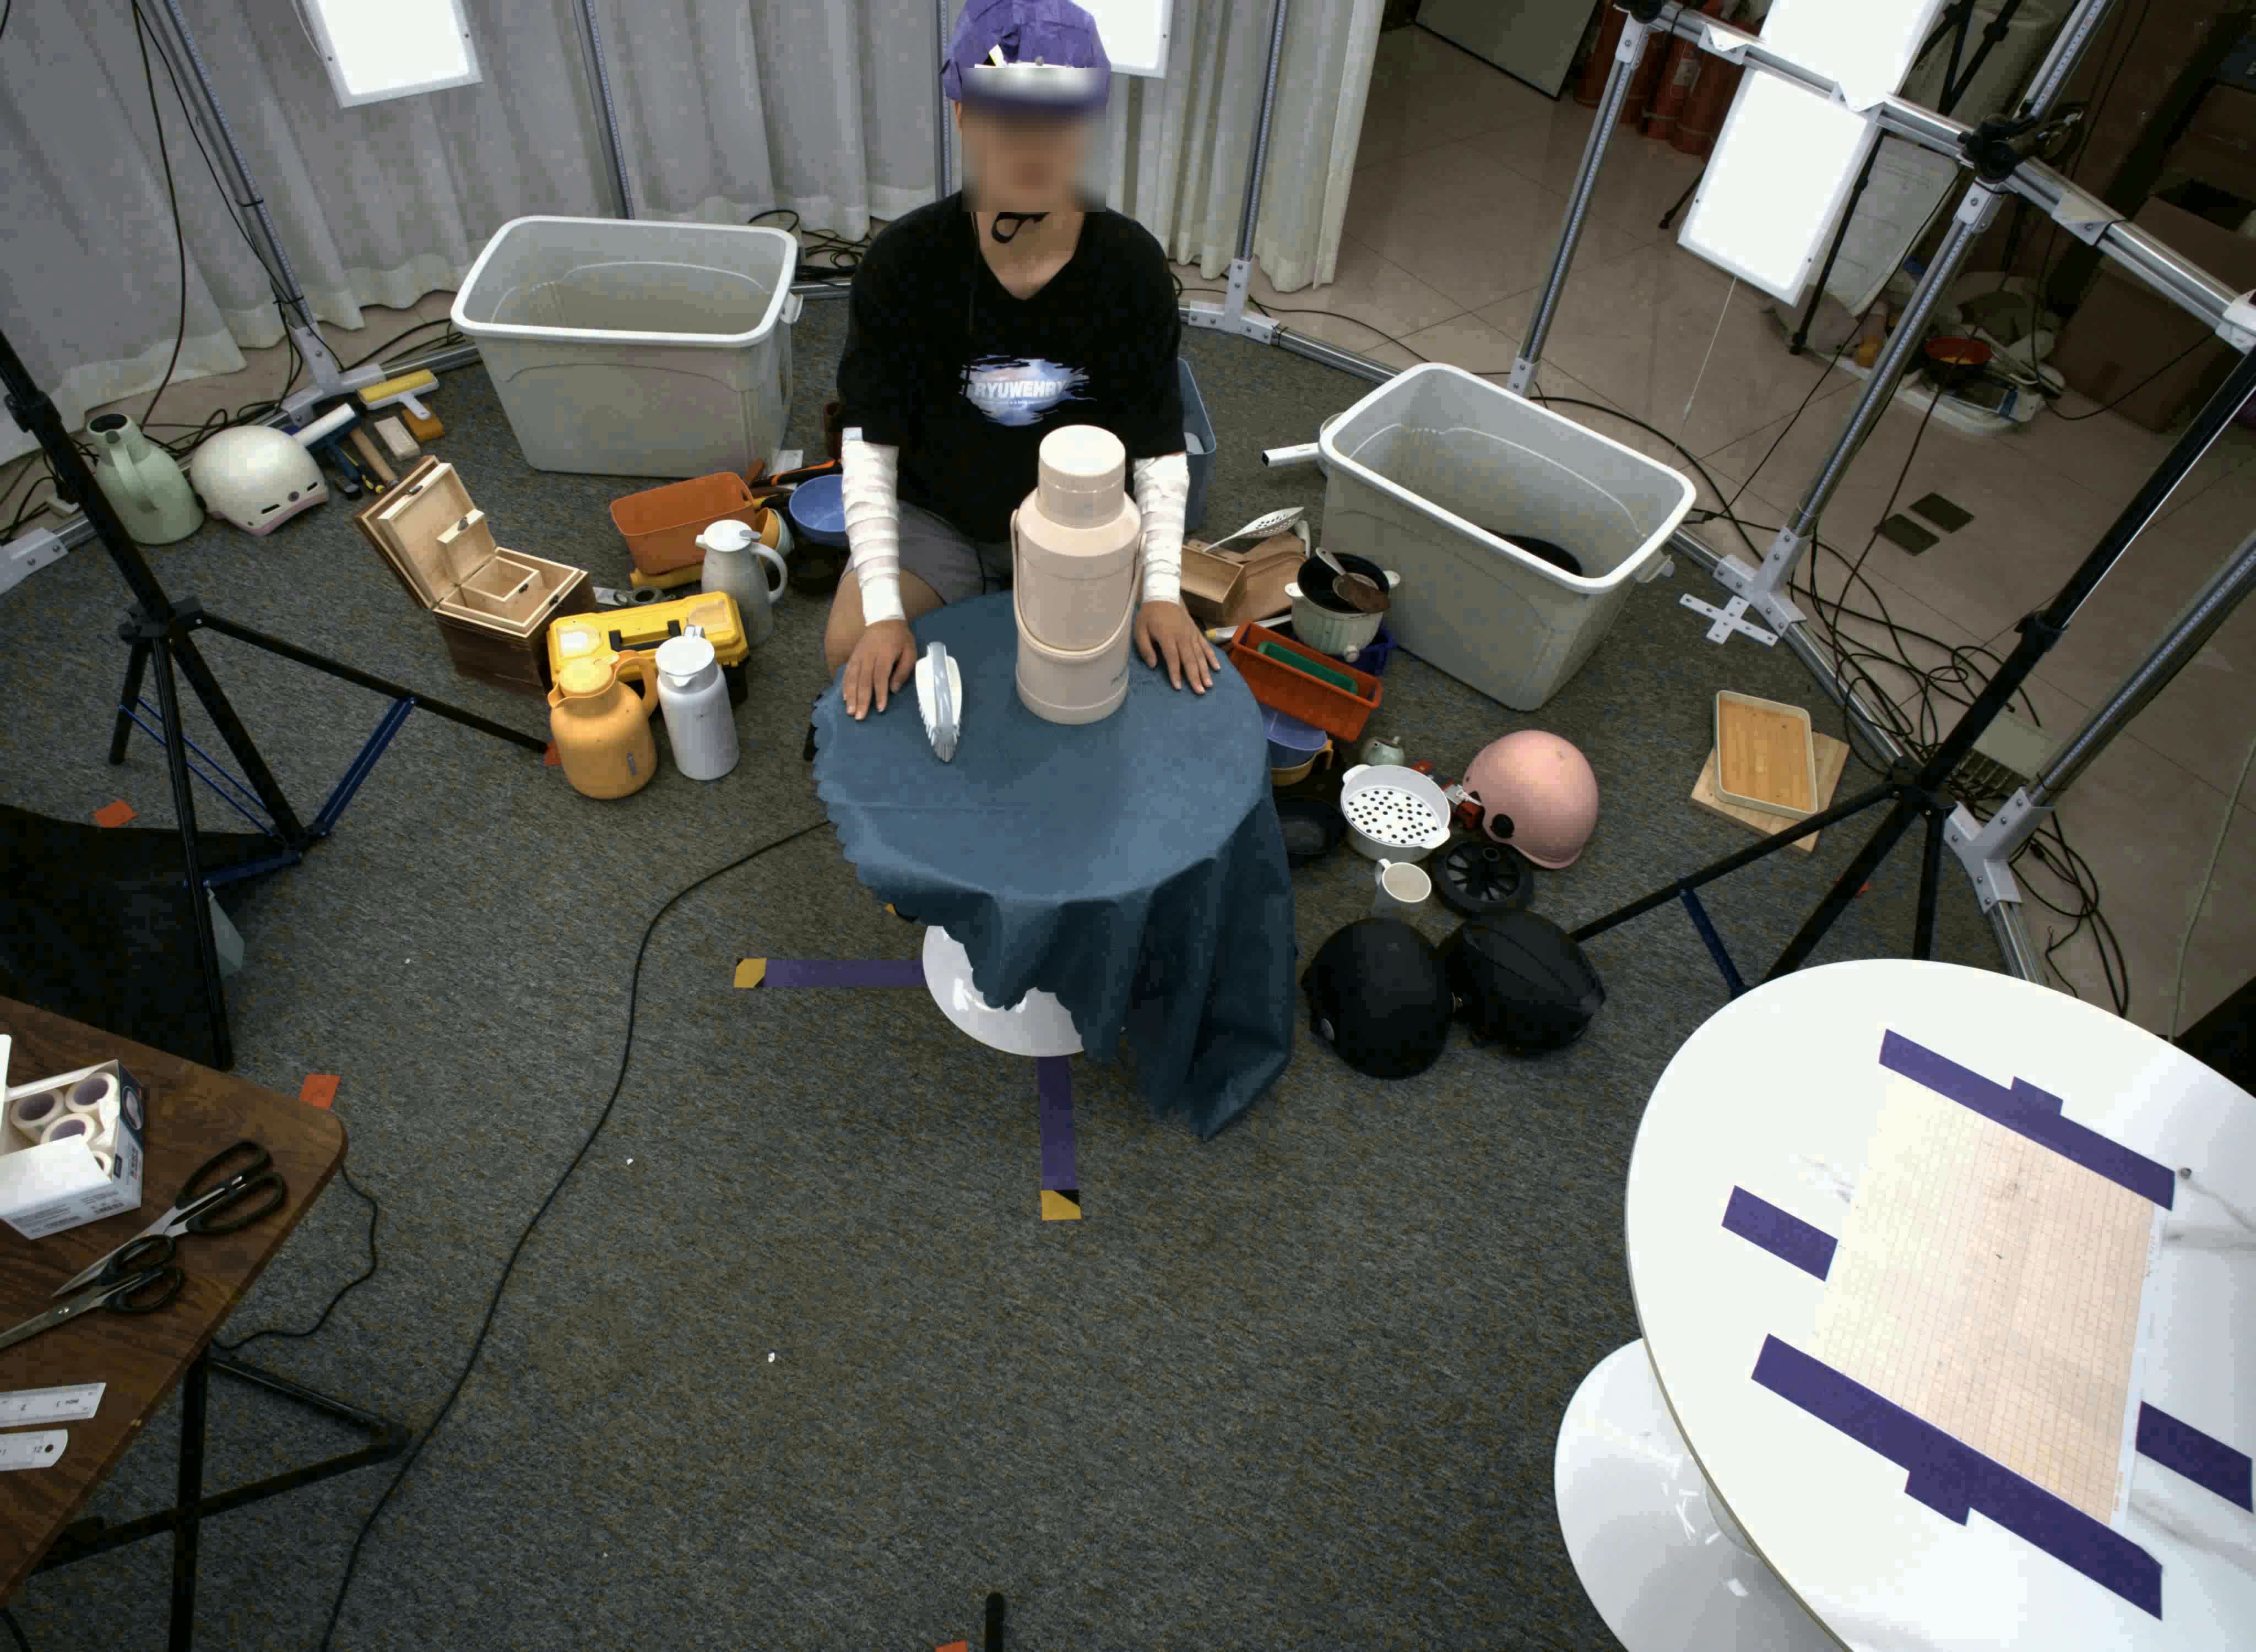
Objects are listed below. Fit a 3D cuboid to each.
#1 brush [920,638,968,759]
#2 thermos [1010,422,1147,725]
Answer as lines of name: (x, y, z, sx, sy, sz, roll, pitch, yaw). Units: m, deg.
brush: (-0.251, -0.182, 1.755, 0.061, 0.092, 0.180, -9, 52, -4)
thermos: (-0.062, -0.337, 1.705, 0.175, 0.396, 0.212, 11, 50, 6)
